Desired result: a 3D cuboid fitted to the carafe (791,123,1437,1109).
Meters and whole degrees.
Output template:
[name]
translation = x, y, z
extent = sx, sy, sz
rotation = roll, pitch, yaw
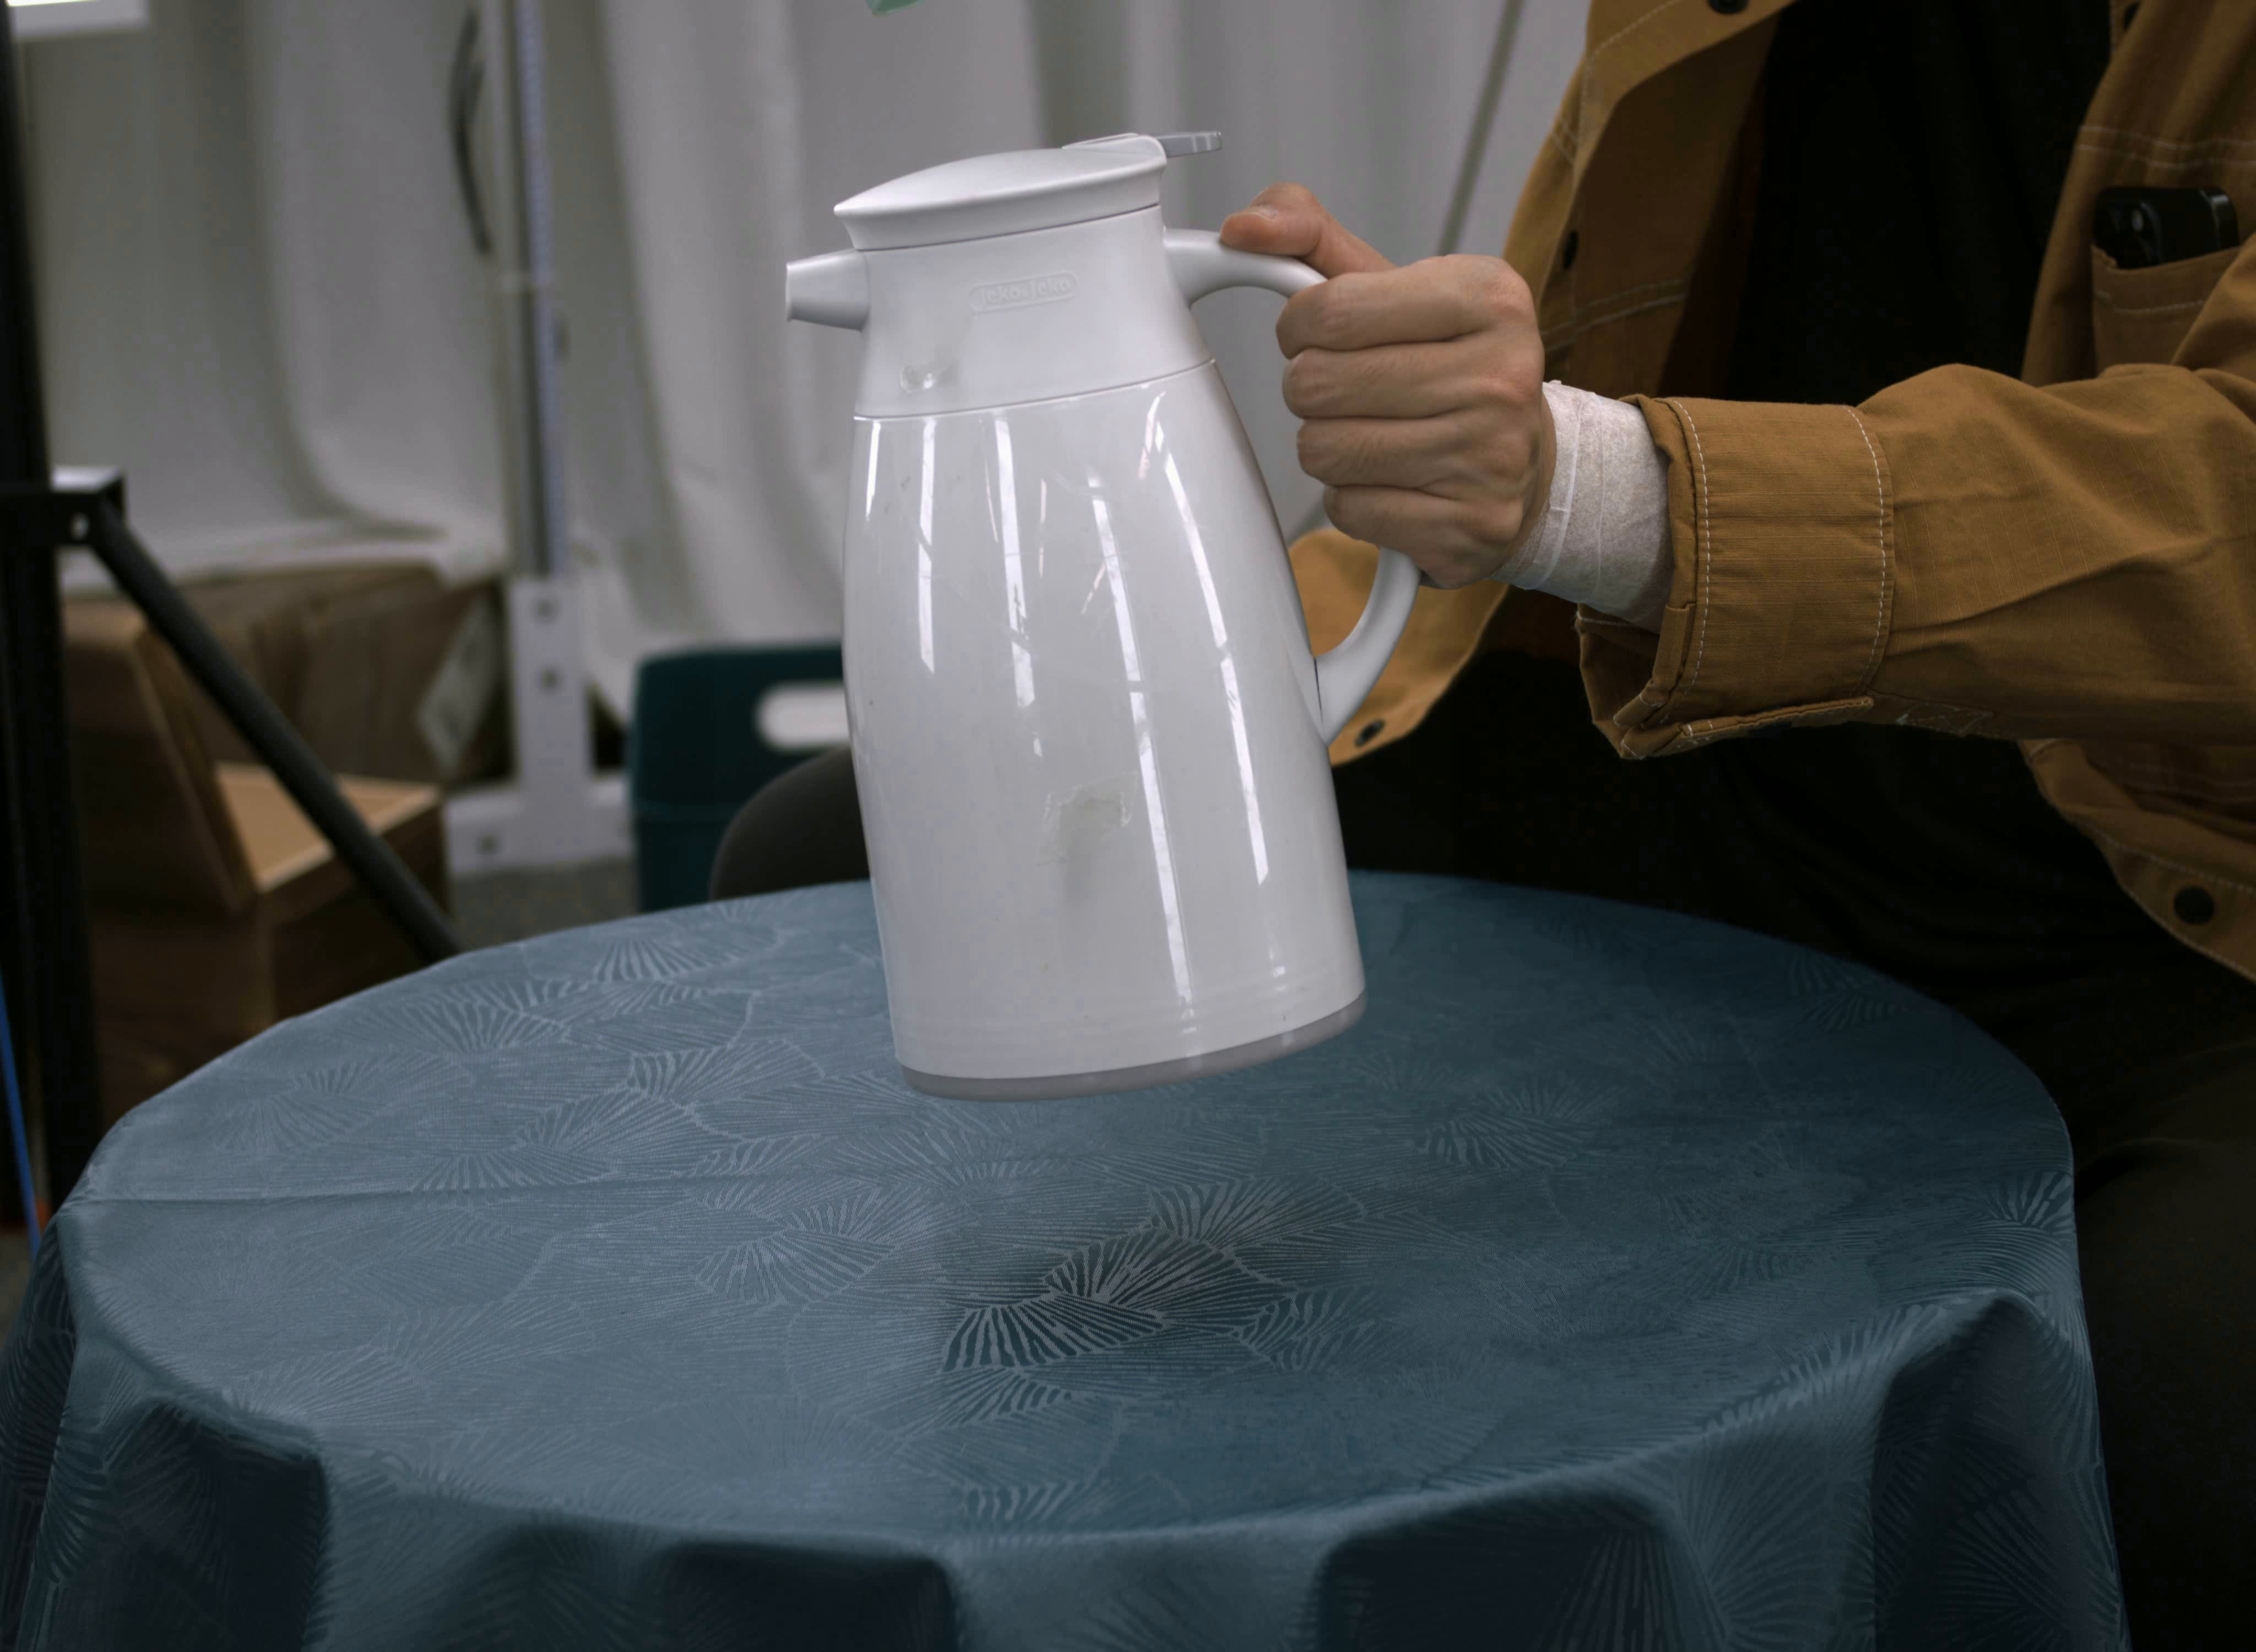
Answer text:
[carafe]
translation = 0.004, -0.063, 1.450
extent = 0.167, 0.249, 0.133
rotation = -8, 10, -1
